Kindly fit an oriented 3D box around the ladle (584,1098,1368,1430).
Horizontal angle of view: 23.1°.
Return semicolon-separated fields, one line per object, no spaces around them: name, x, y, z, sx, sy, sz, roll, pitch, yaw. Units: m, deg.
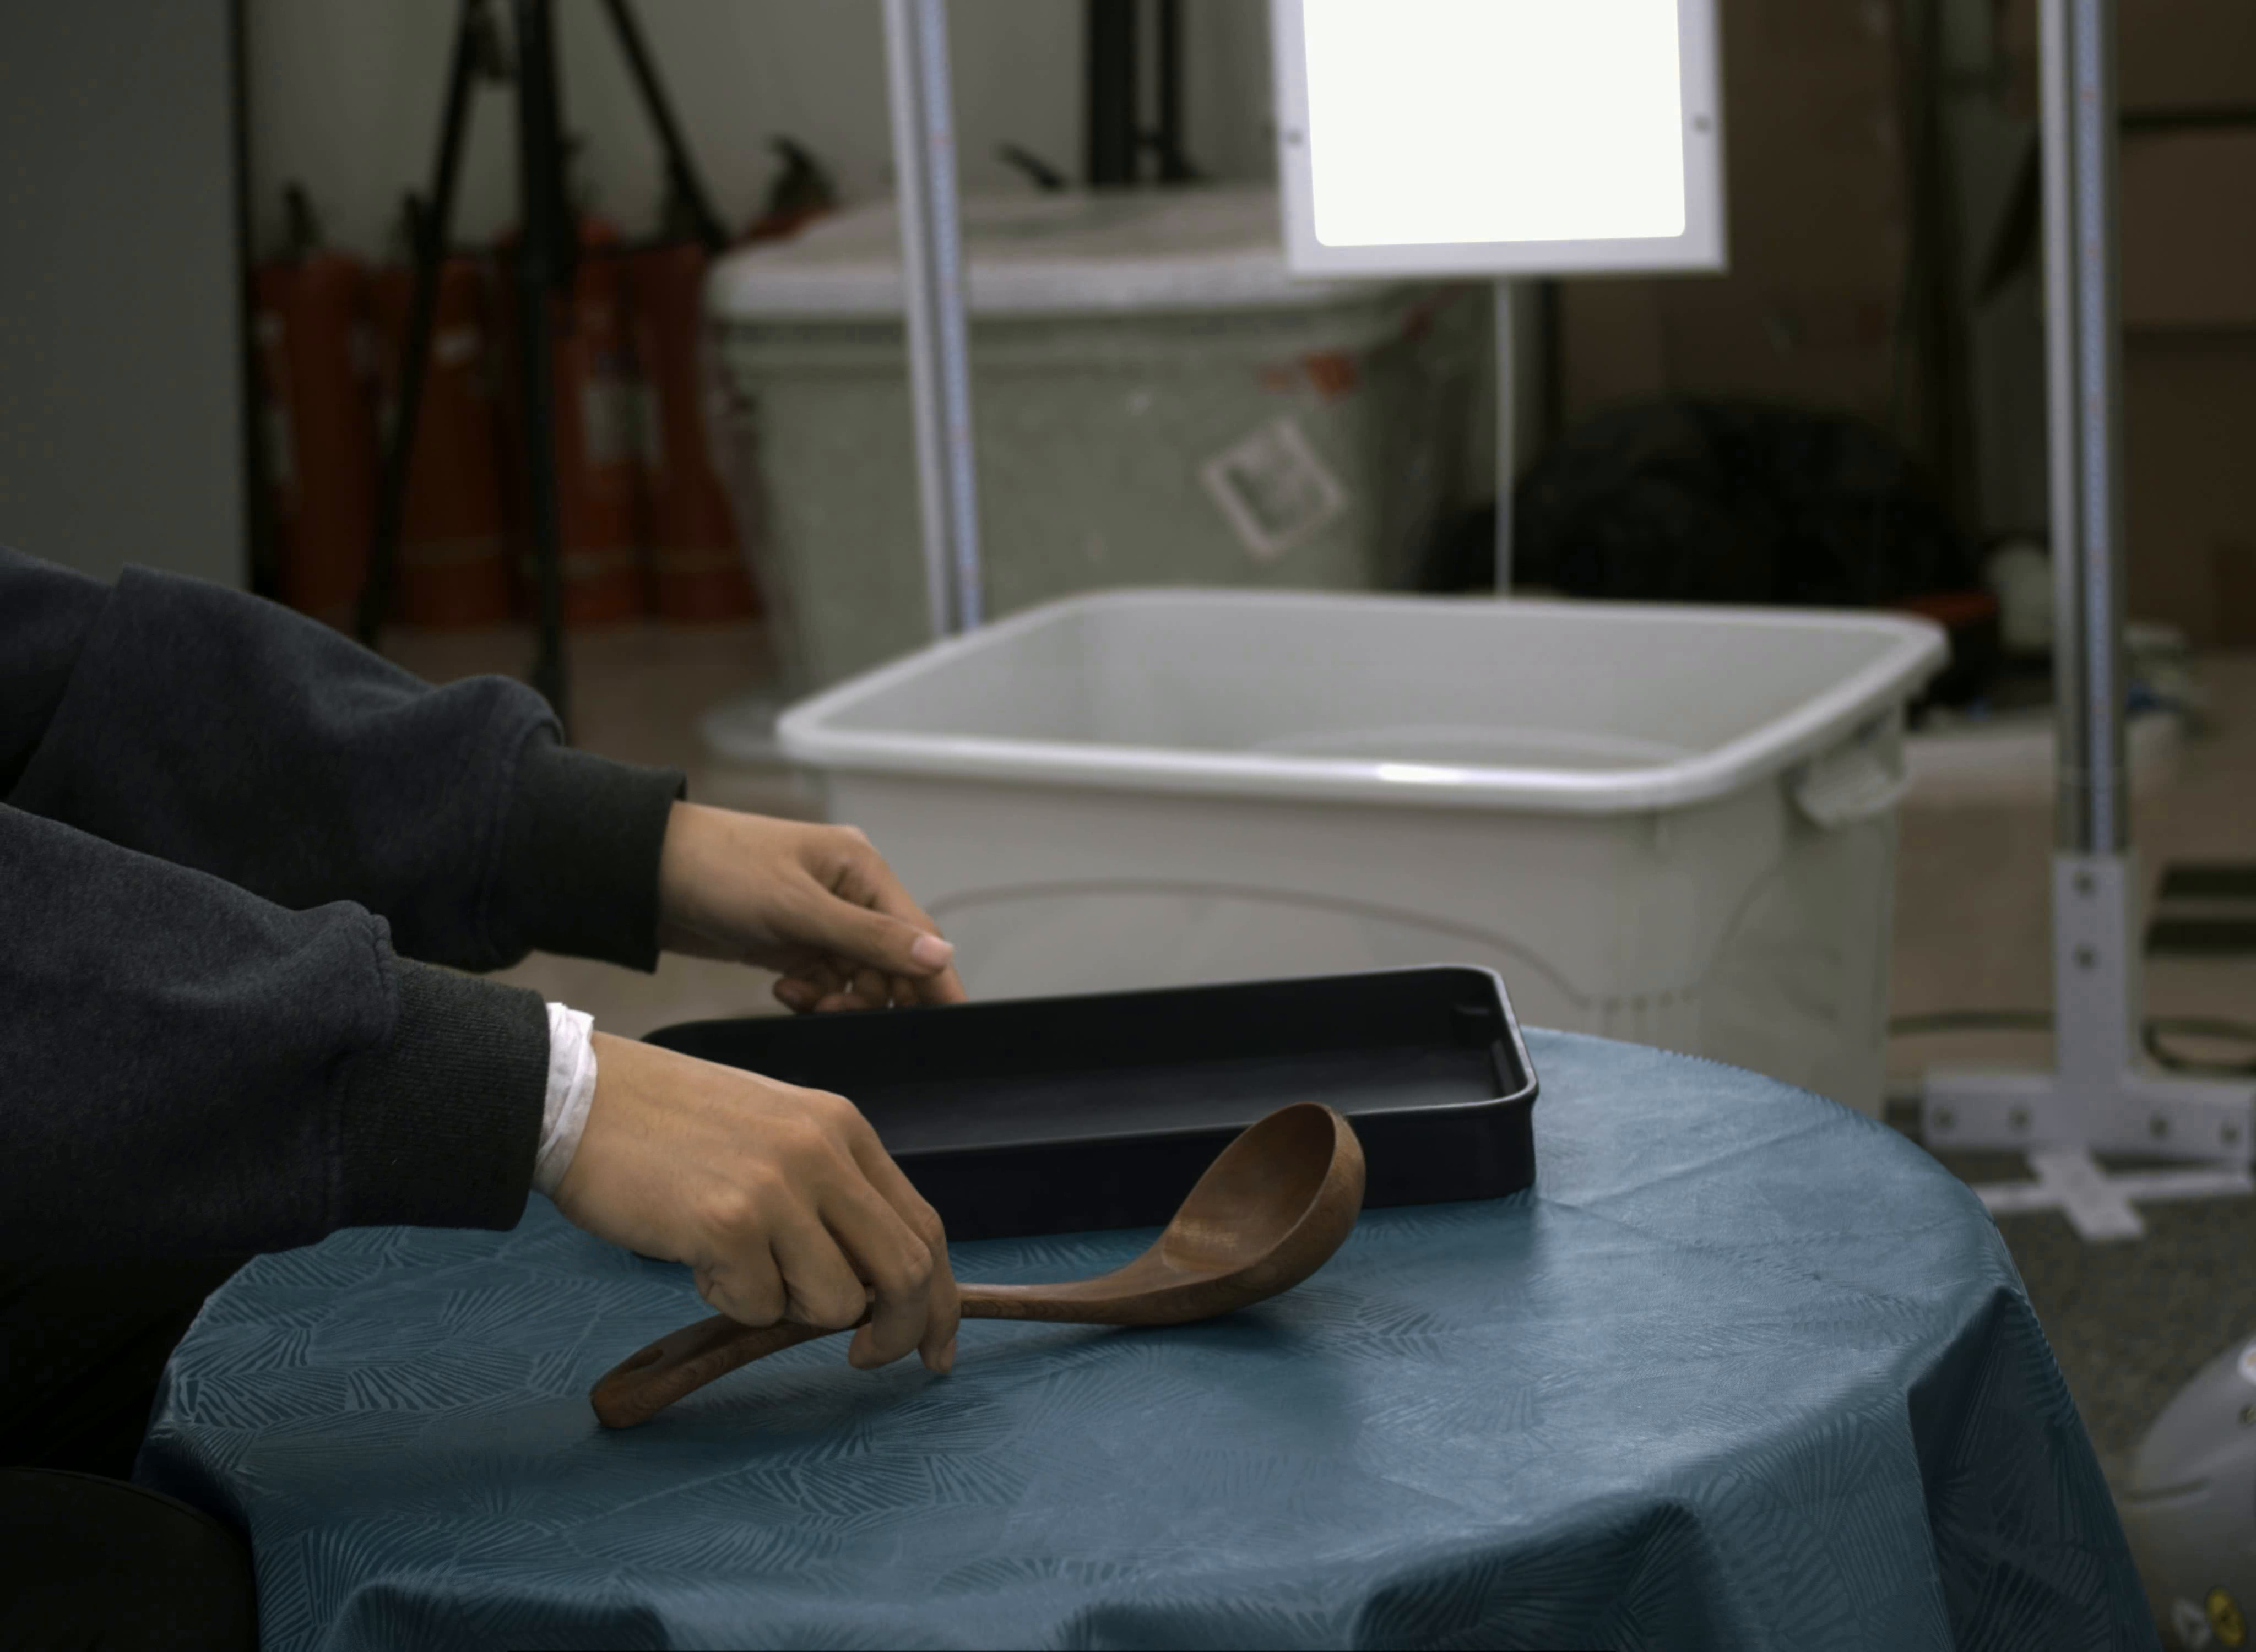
ladle;-0.047;0.137;1.736;0.256;0.065;0.077;-9;15;-15

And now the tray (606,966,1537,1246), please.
tray;-0.020;0.096;1.939;0.317;0.037;0.184;-3;14;1
